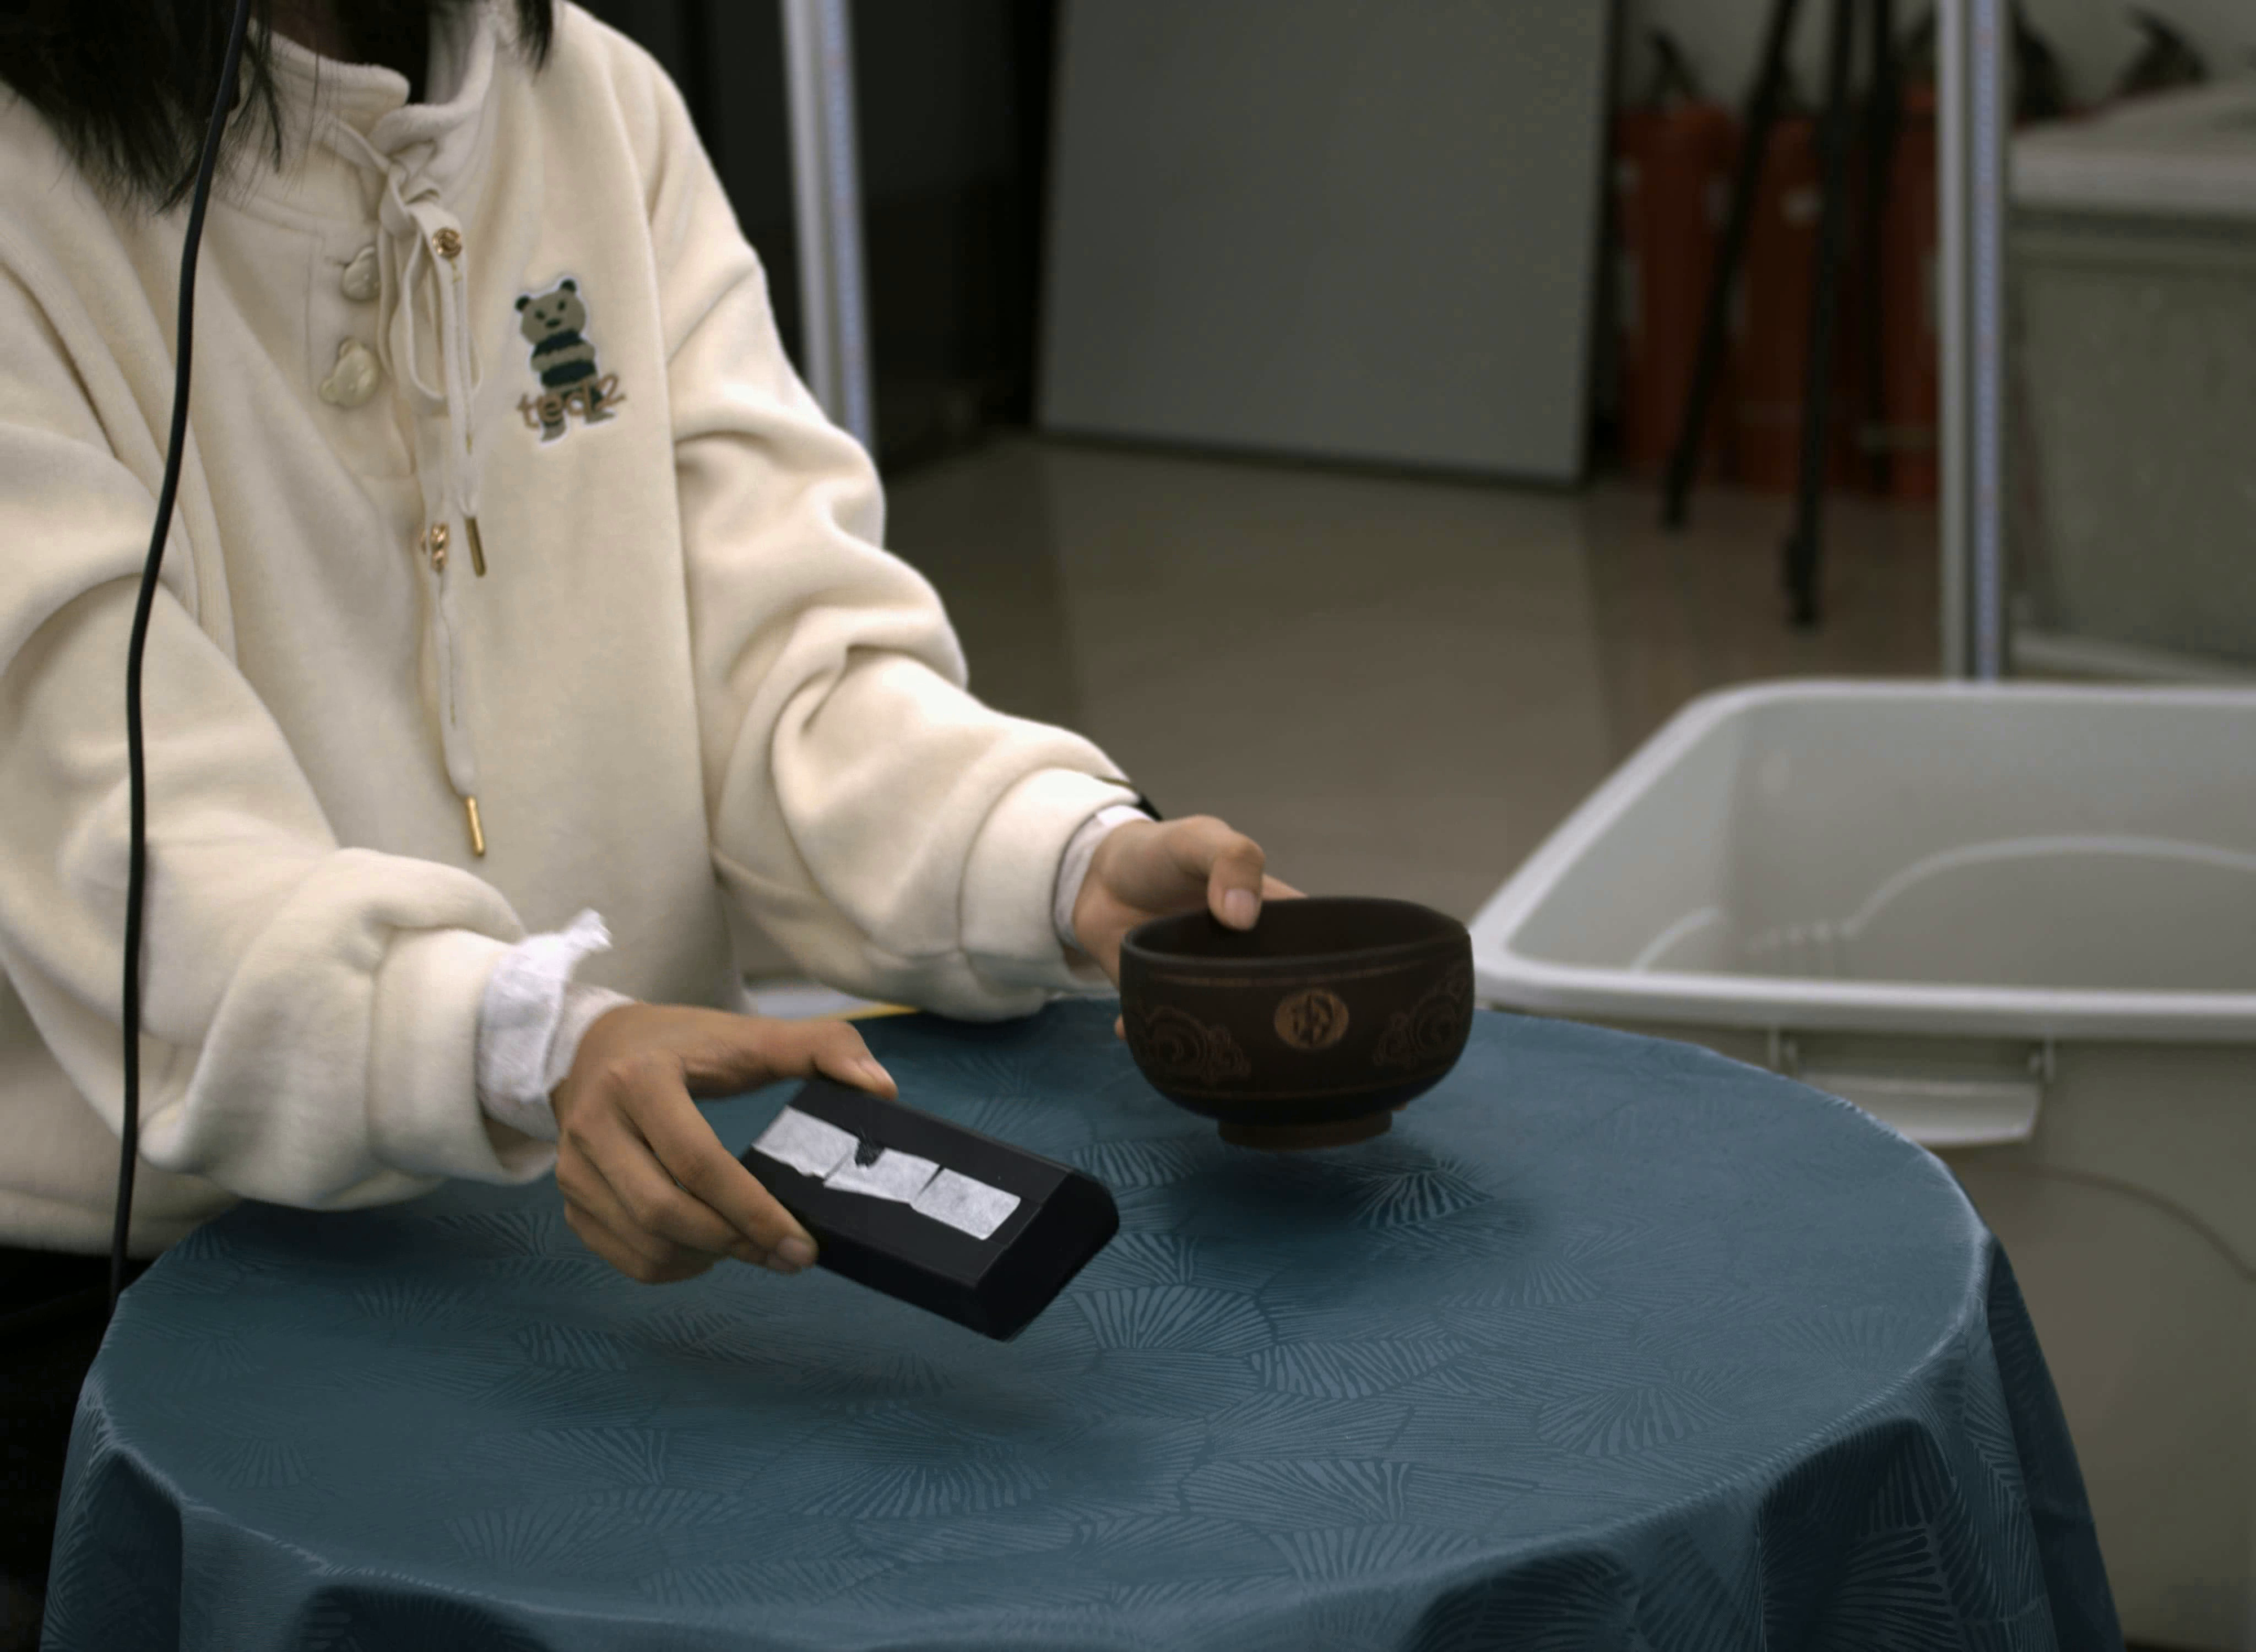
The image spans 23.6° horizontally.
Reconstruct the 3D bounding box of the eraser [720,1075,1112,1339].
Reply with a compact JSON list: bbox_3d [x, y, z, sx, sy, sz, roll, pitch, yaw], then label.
[{"bbox_3d":[-0.063,0.111,1.598,0.127,0.030,0.053,15,57,47],"label":"eraser"}]

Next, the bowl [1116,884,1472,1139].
[{"bbox_3d":[0.055,0.062,1.757,0.116,0.071,0.118,-4,7,0],"label":"bowl"}]
